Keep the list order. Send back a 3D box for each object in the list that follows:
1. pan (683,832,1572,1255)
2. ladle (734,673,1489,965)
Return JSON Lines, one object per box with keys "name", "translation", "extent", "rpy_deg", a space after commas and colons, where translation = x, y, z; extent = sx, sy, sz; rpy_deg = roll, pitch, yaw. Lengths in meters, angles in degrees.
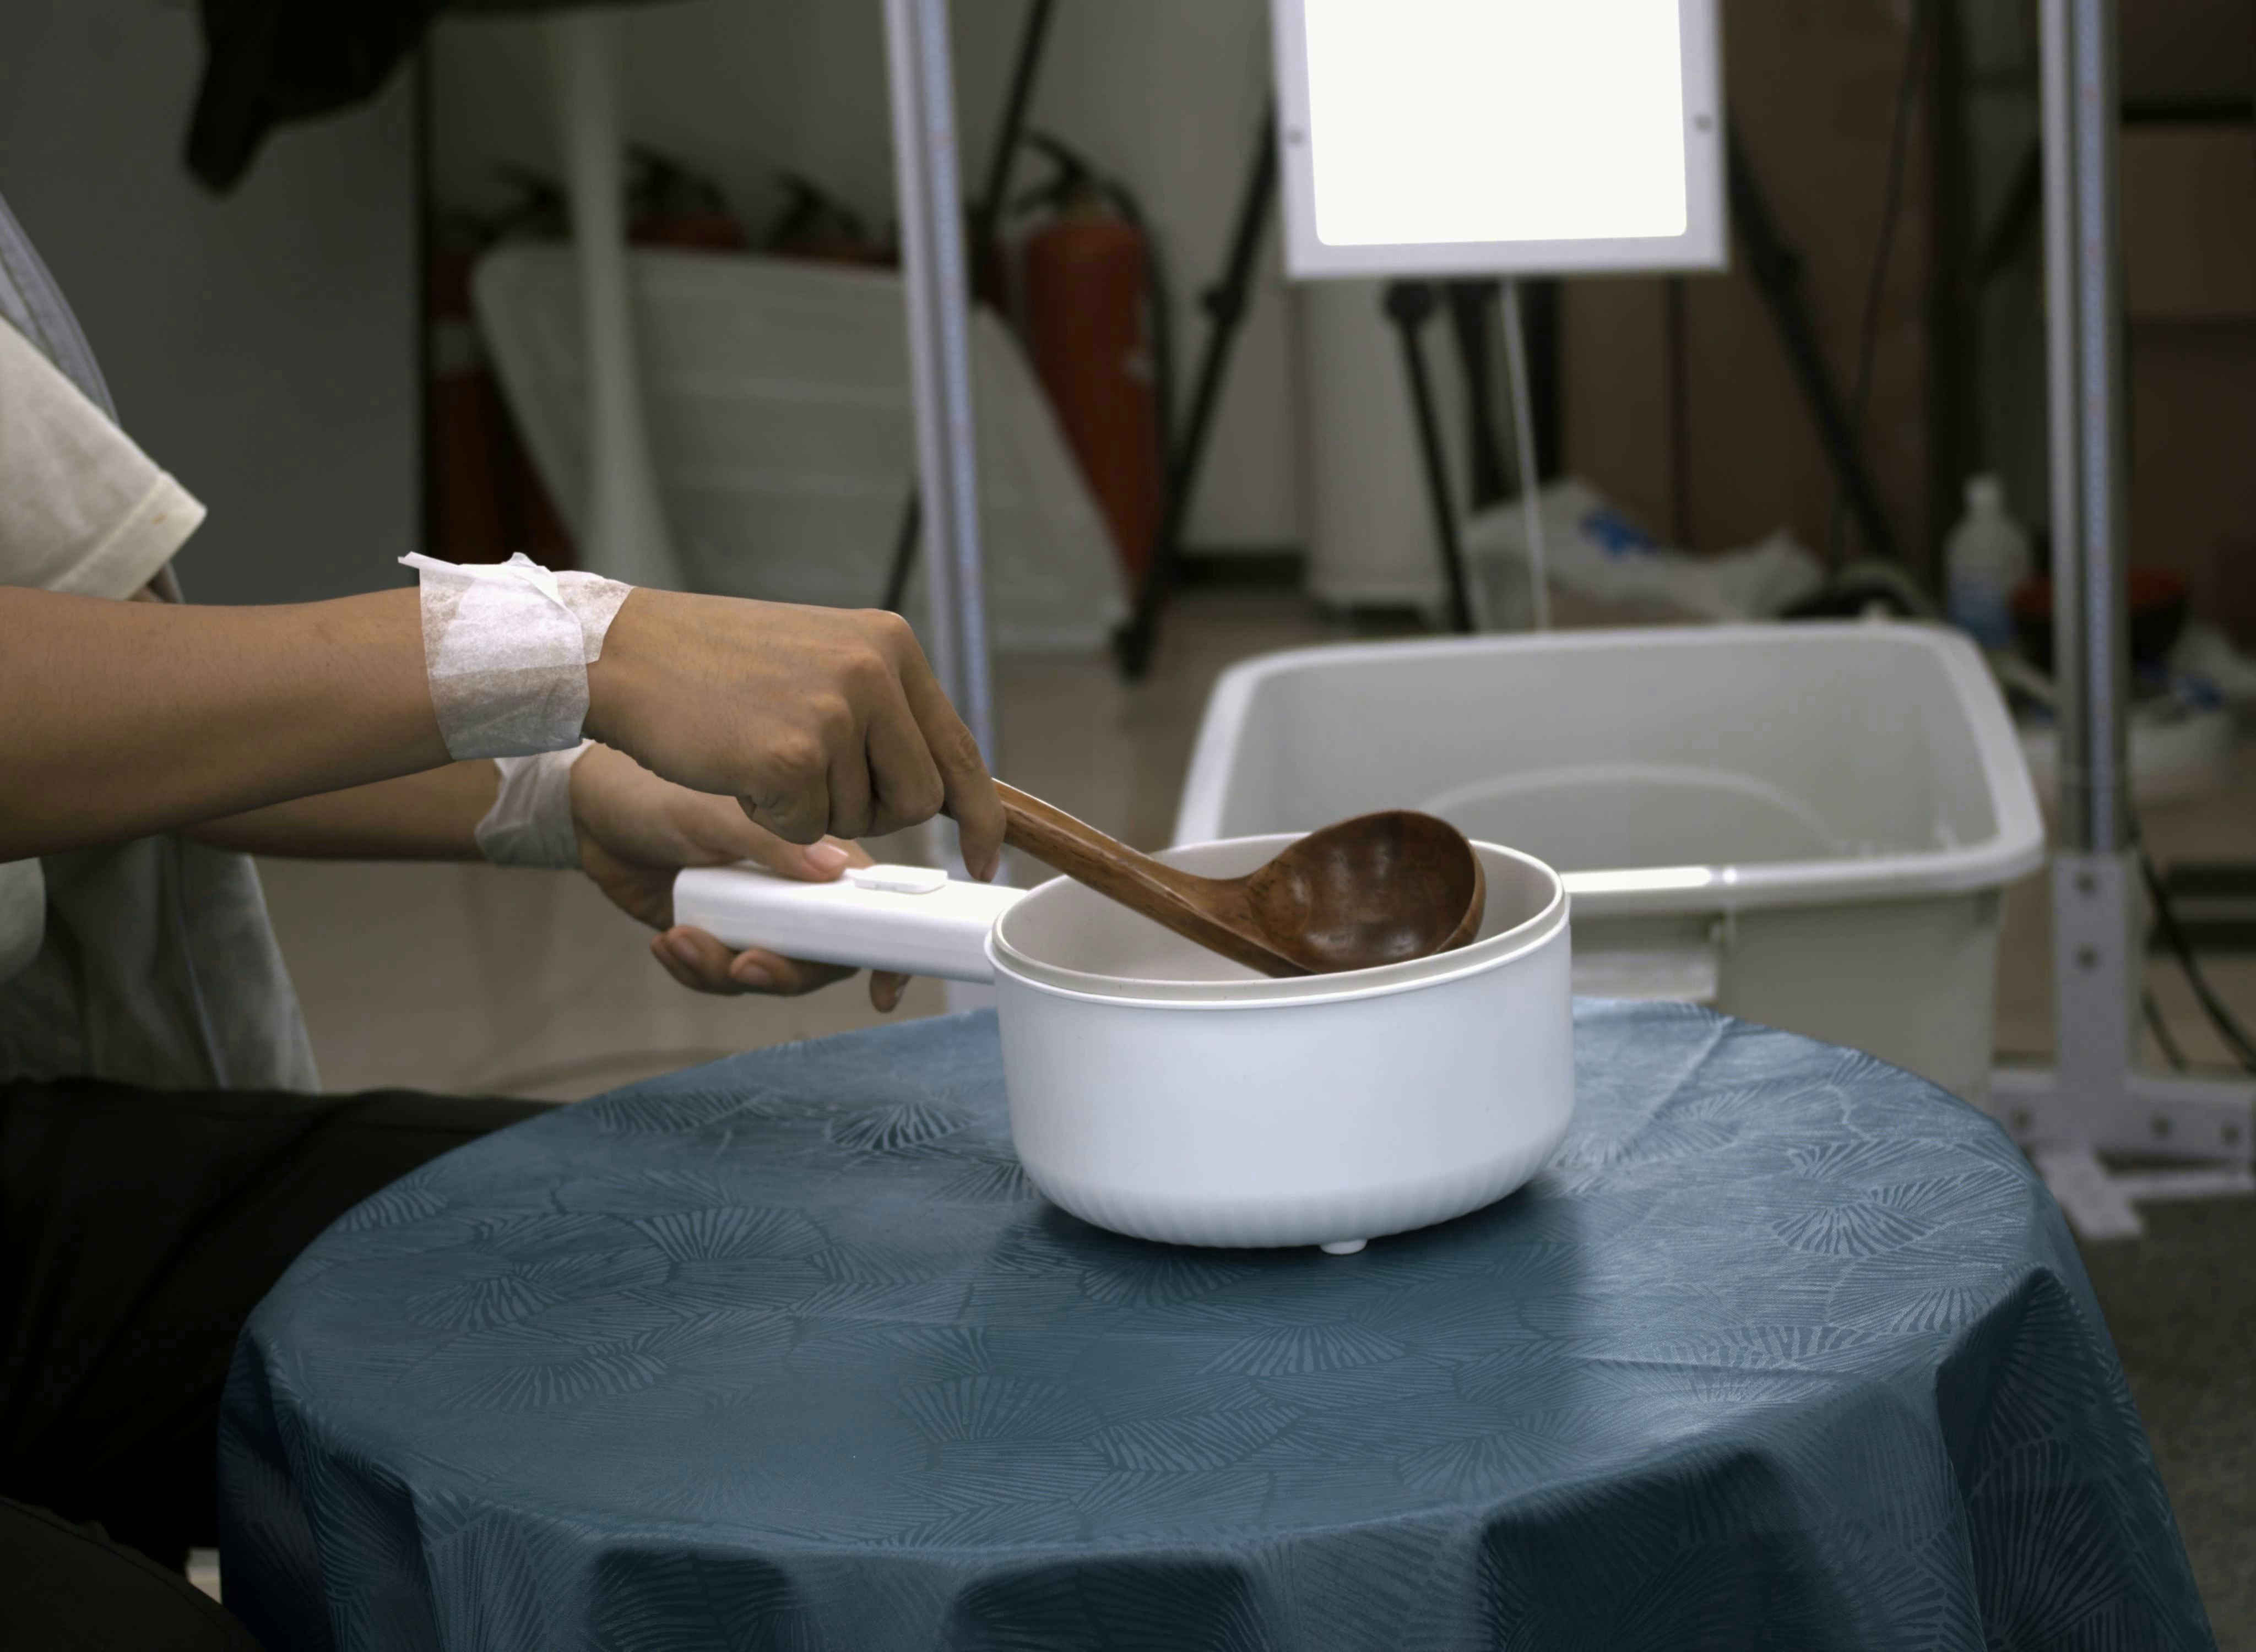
{"name": "pan", "translation": [-0.008, 0.070, 1.922], "extent": [0.362, 0.102, 0.196], "rpy_deg": [5, 17, 37]}
{"name": "ladle", "translation": [0.002, -0.011, 1.818], "extent": [0.269, 0.077, 0.082], "rpy_deg": [26, 23, -29]}
